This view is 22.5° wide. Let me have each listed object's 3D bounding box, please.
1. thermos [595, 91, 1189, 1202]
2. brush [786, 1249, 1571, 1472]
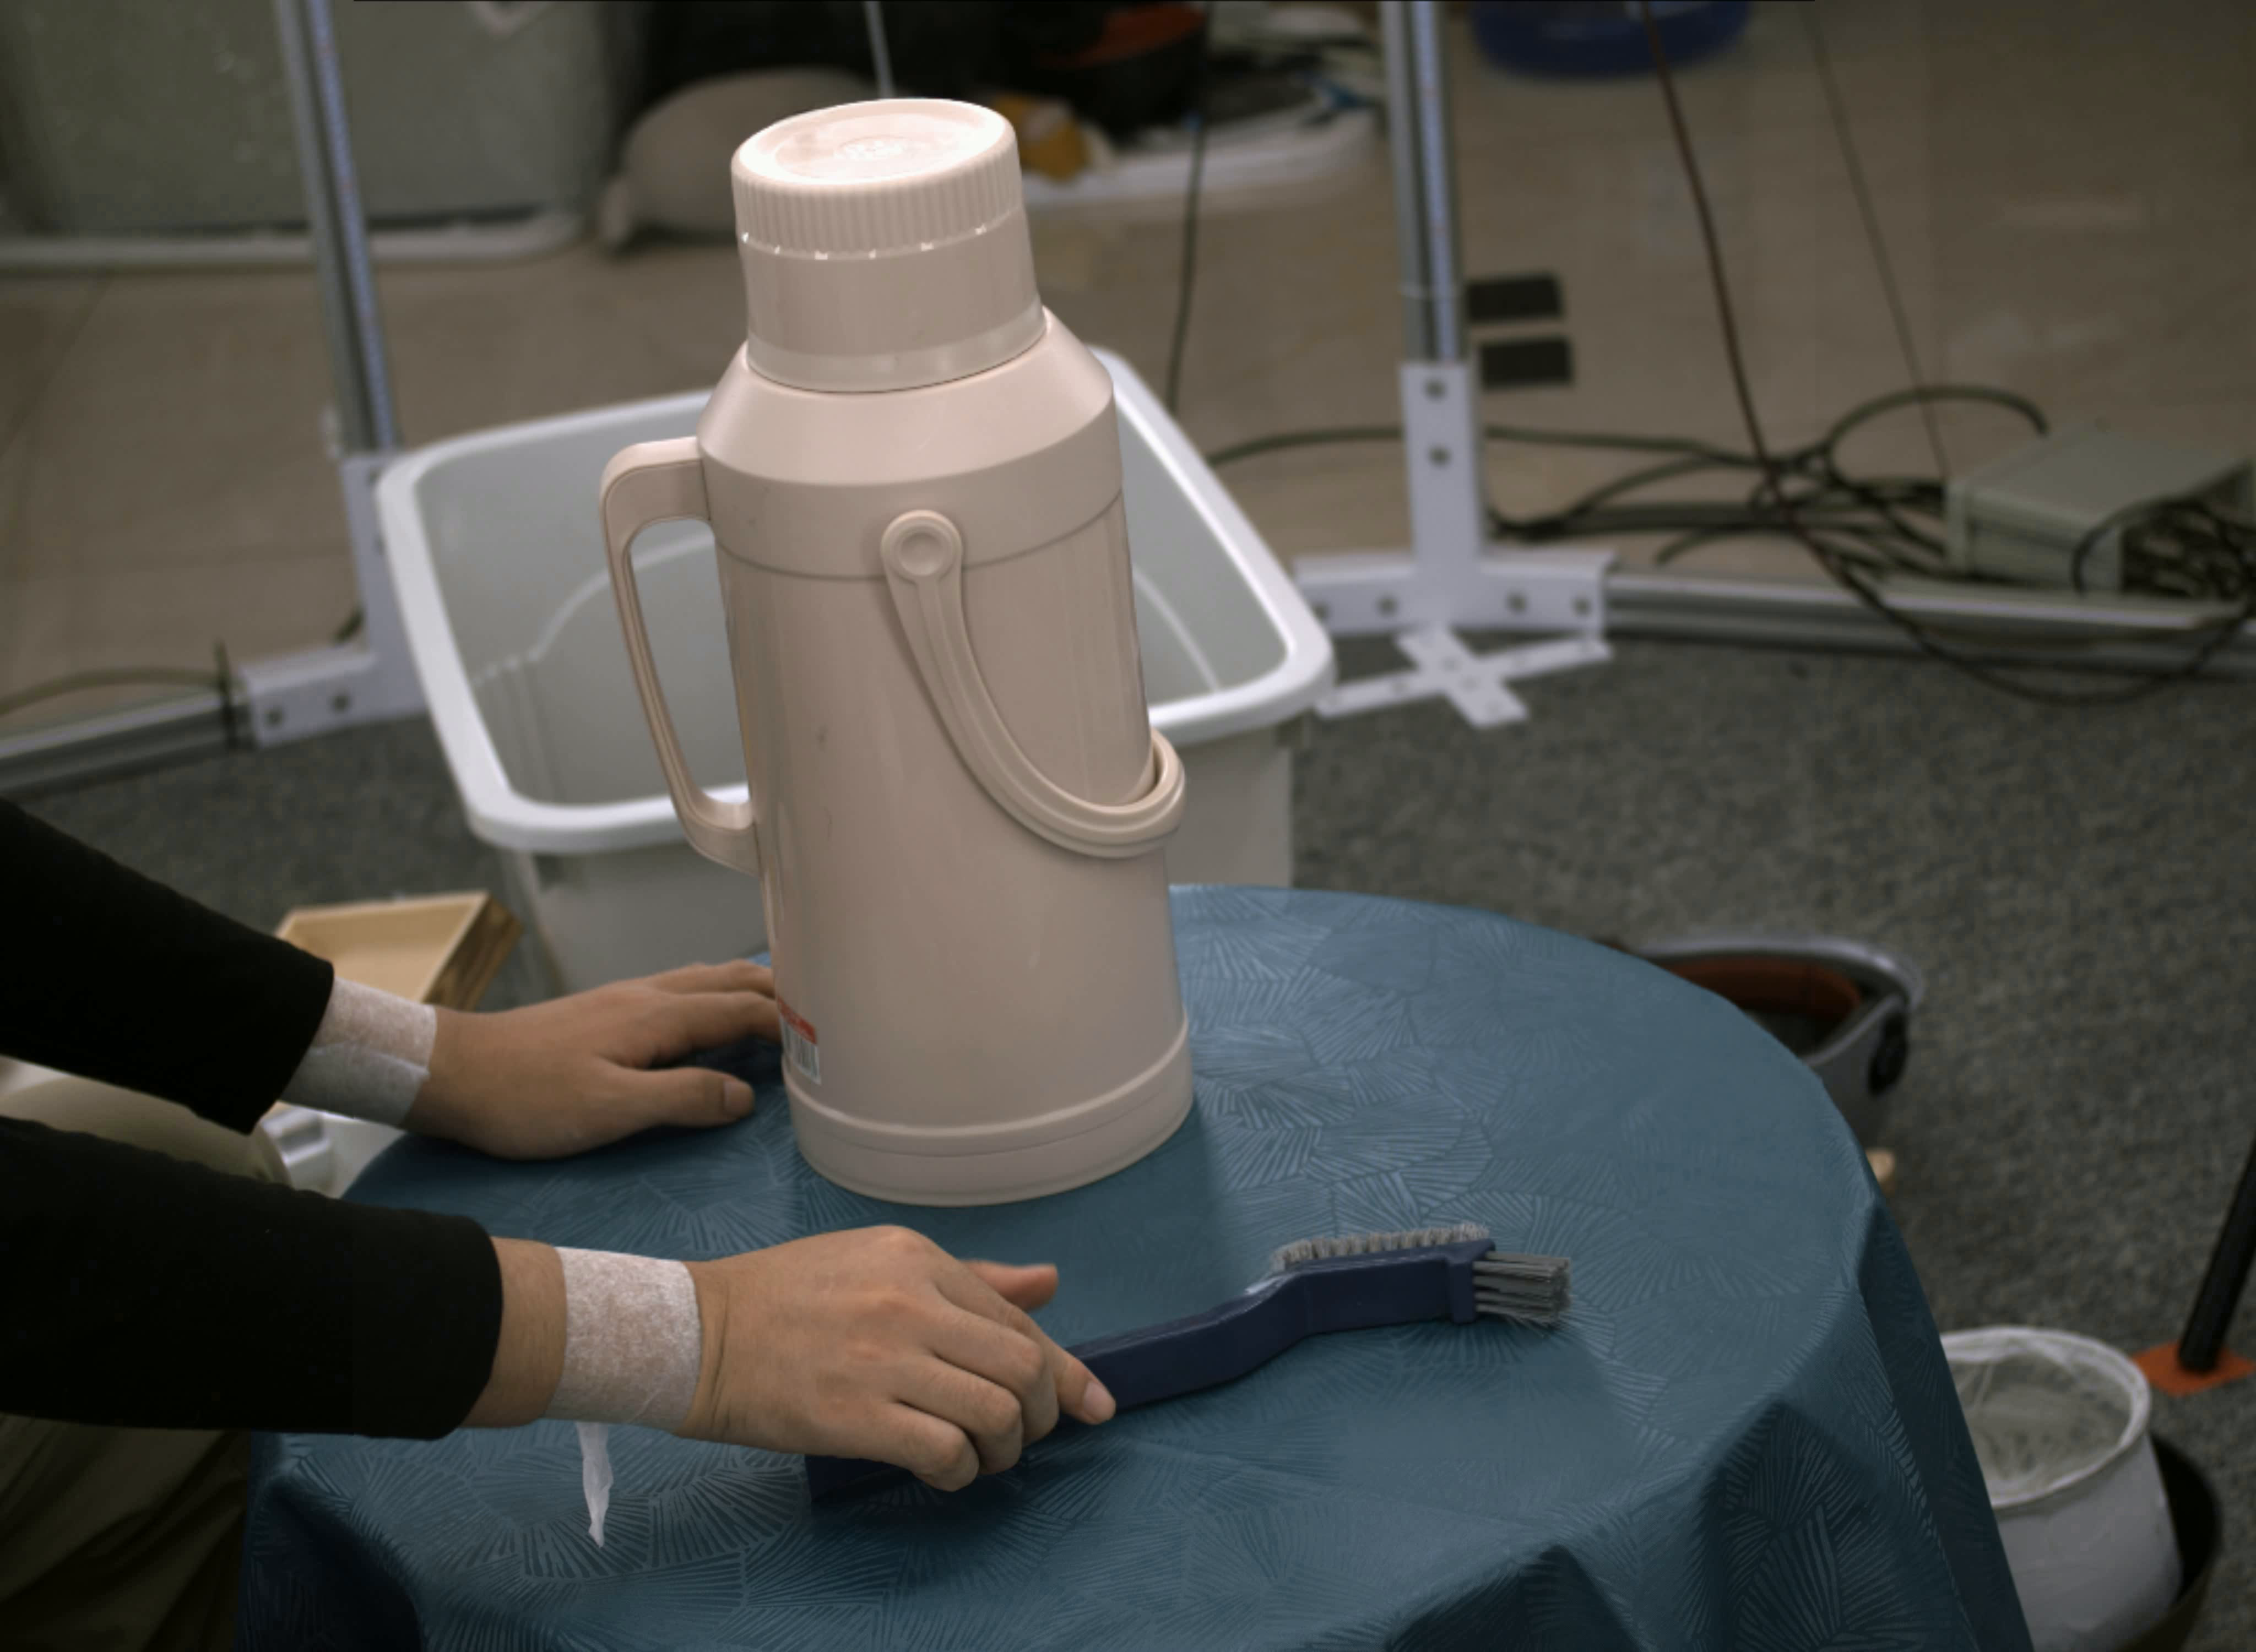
[{"bbox_3d":[-0.088,-0.067,2.134,0.206,0.413,0.172,-7,27,-2],"label":"thermos"},{"bbox_3d":[0.017,0.188,1.998,0.272,0.034,0.094,-15,25,-22],"label":"brush"}]
